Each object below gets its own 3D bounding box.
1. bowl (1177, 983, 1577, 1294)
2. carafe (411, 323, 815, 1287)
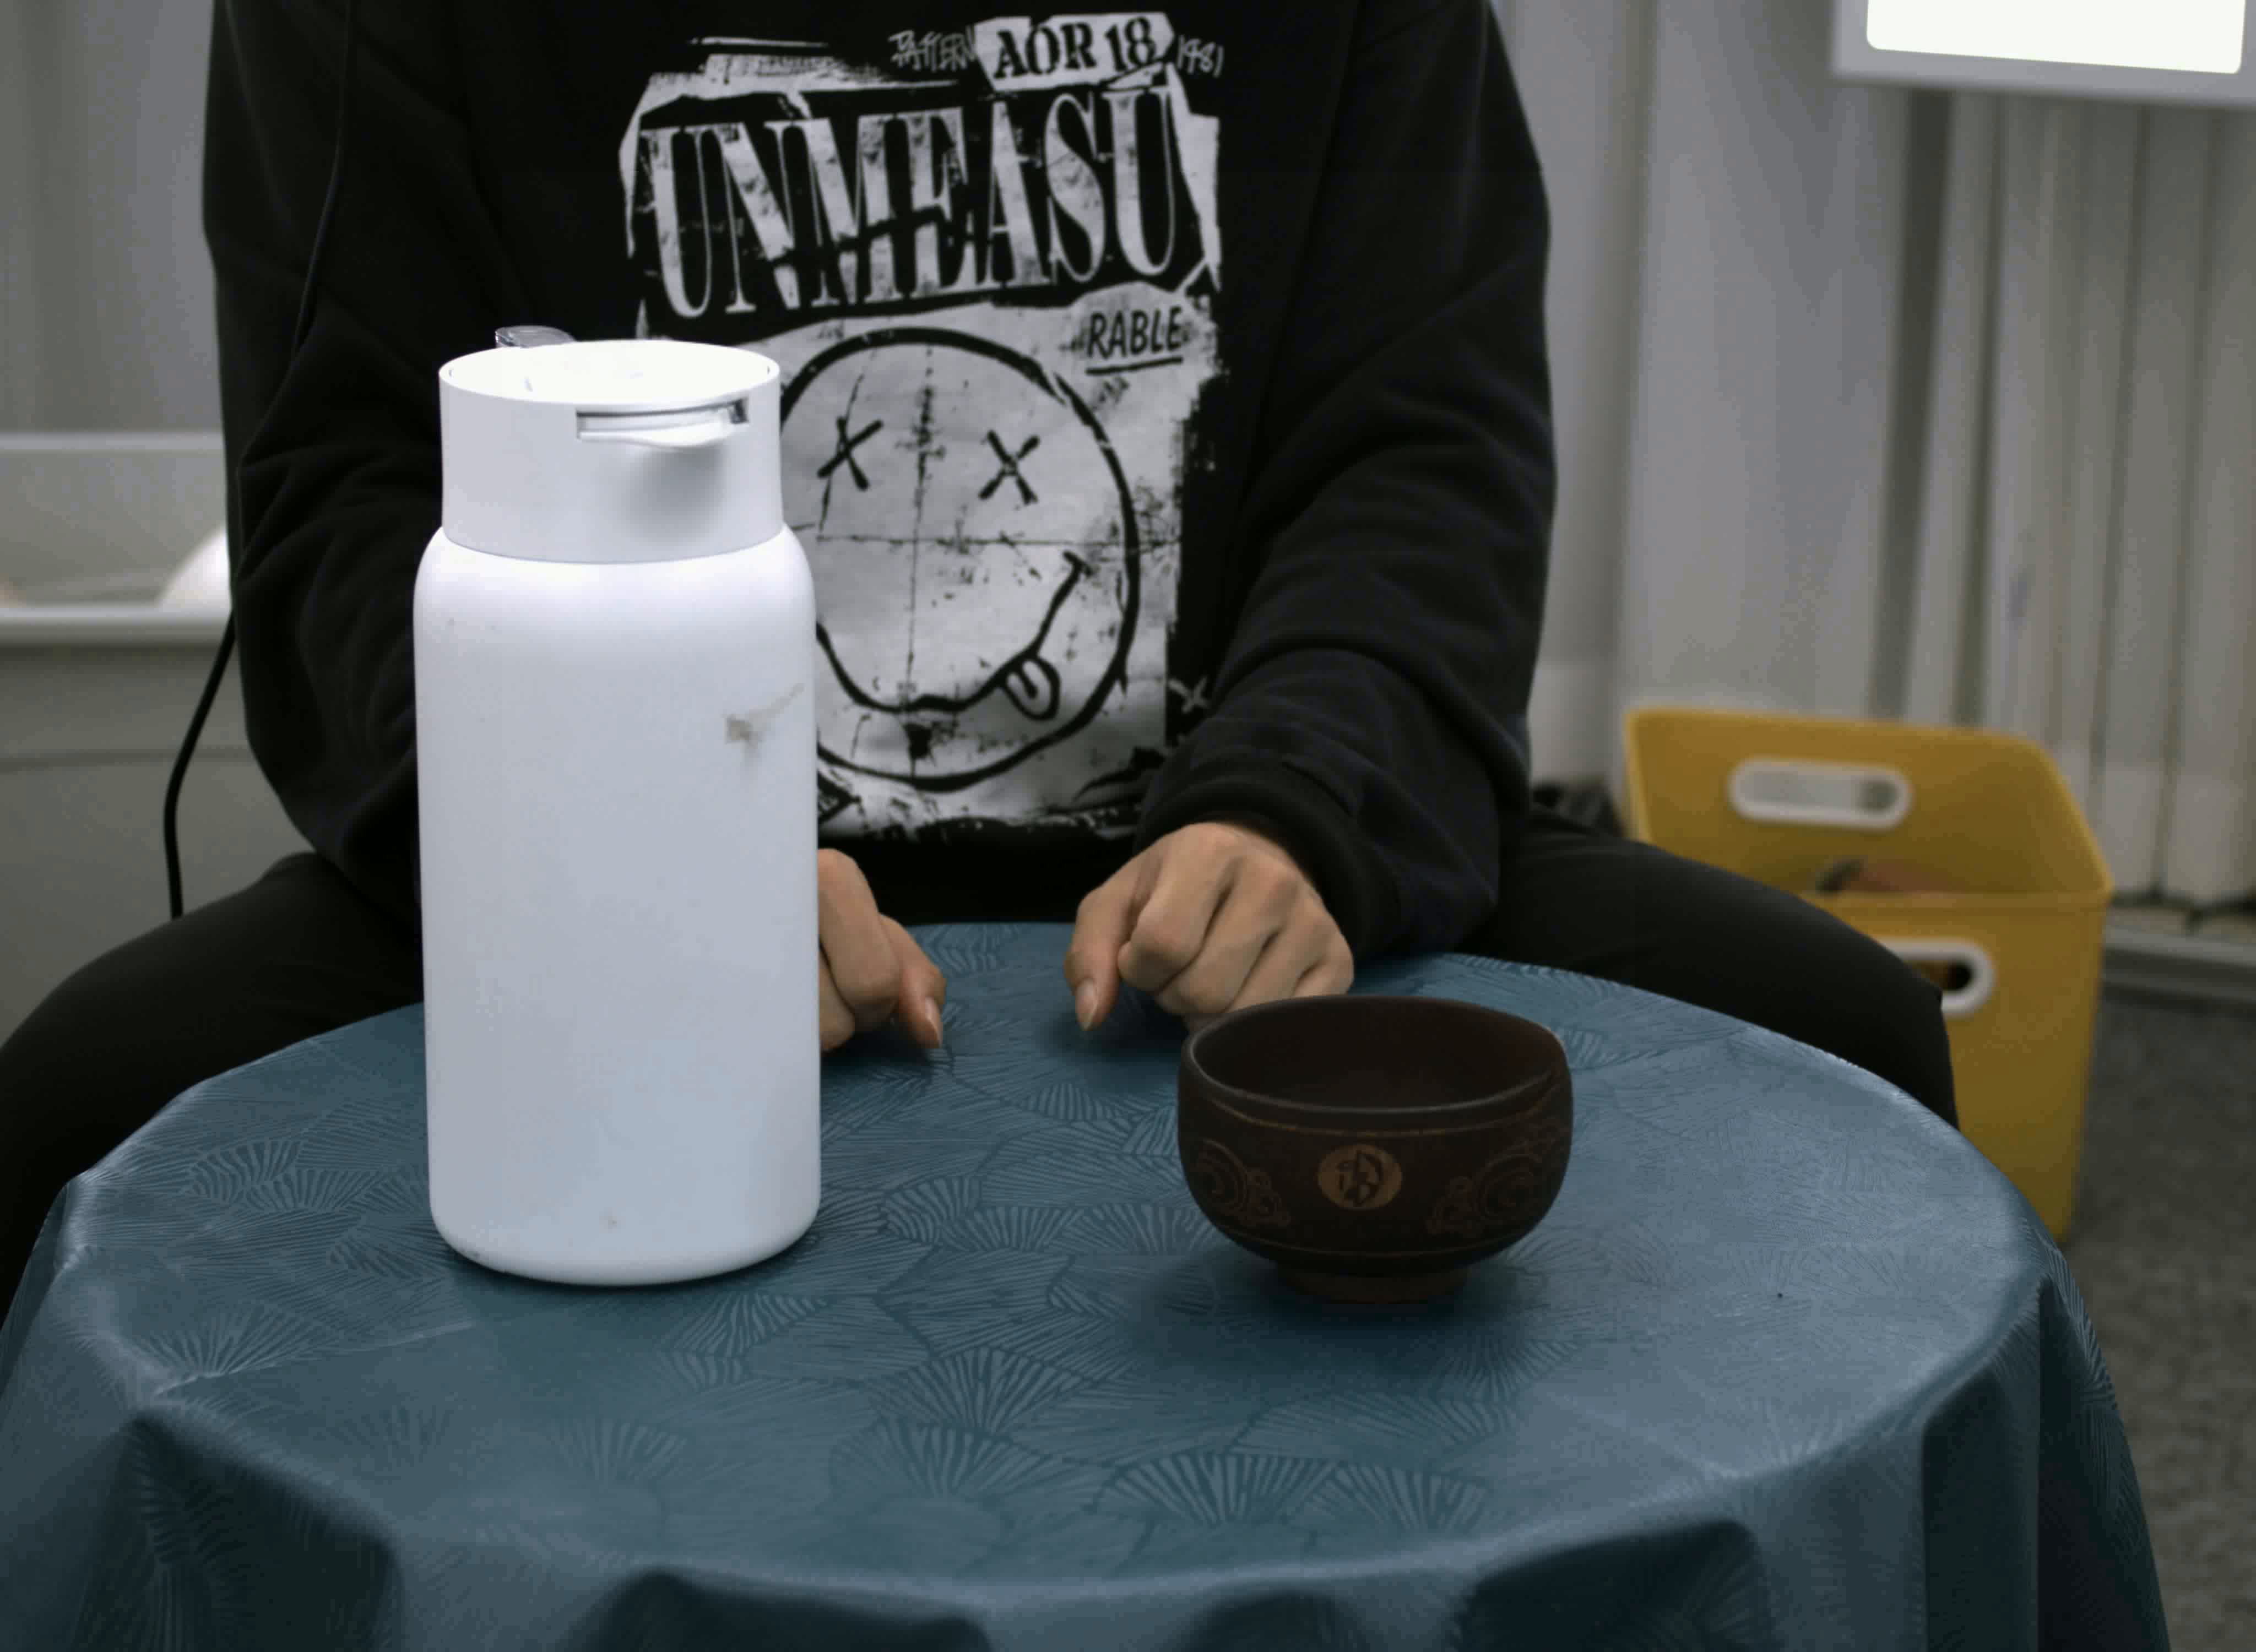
[{"bbox_3d":[0.073,0.096,1.546,0.117,0.070,0.117,0,15,1],"label":"bowl"},{"bbox_3d":[-0.160,-0.010,1.560,0.124,0.271,0.170,-10,19,-27],"label":"carafe"}]
